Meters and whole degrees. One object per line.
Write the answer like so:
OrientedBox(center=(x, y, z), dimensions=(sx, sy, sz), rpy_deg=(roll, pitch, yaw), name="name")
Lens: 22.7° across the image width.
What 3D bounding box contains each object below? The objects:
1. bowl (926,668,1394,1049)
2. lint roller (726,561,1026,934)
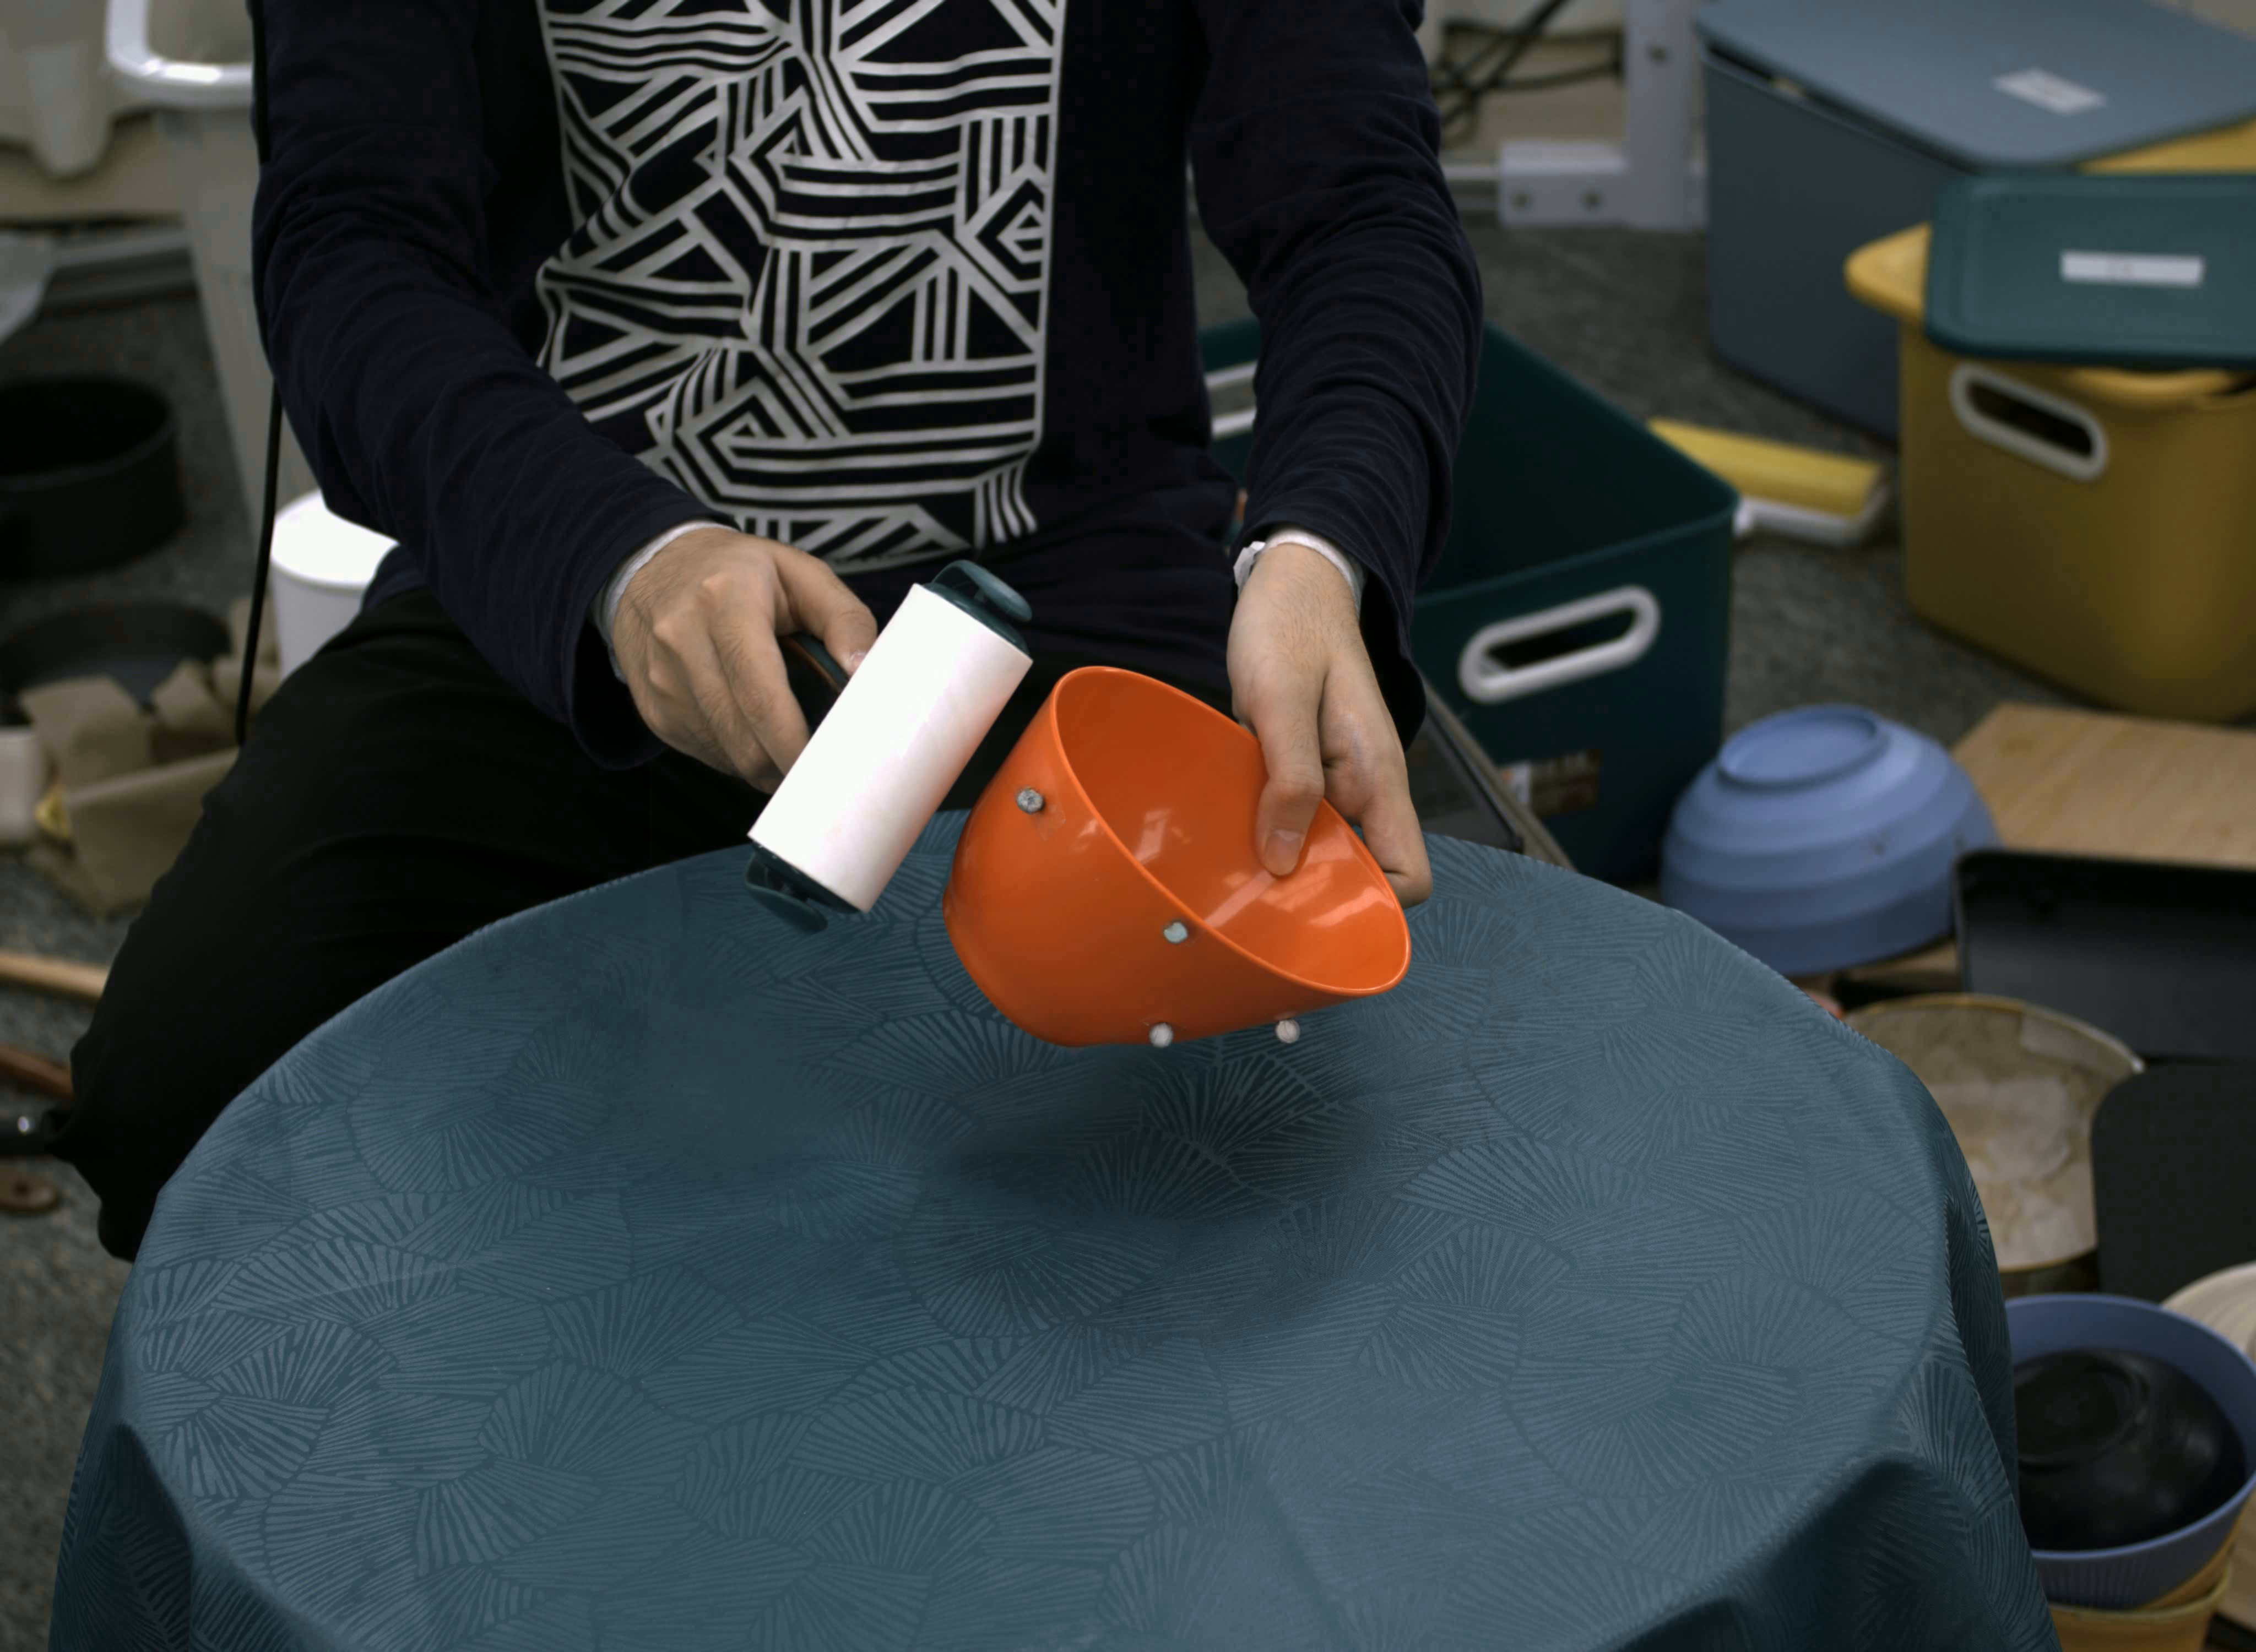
OrientedBox(center=(0.000, 0.026, 1.853), dimensions=(0.103, 0.147, 0.150), rpy_deg=(-39, 19, 20), name="bowl")
OrientedBox(center=(-0.109, -0.042, 1.888), dimensions=(0.135, 0.048, 0.180), rpy_deg=(-56, 31, -4), name="lint roller")
